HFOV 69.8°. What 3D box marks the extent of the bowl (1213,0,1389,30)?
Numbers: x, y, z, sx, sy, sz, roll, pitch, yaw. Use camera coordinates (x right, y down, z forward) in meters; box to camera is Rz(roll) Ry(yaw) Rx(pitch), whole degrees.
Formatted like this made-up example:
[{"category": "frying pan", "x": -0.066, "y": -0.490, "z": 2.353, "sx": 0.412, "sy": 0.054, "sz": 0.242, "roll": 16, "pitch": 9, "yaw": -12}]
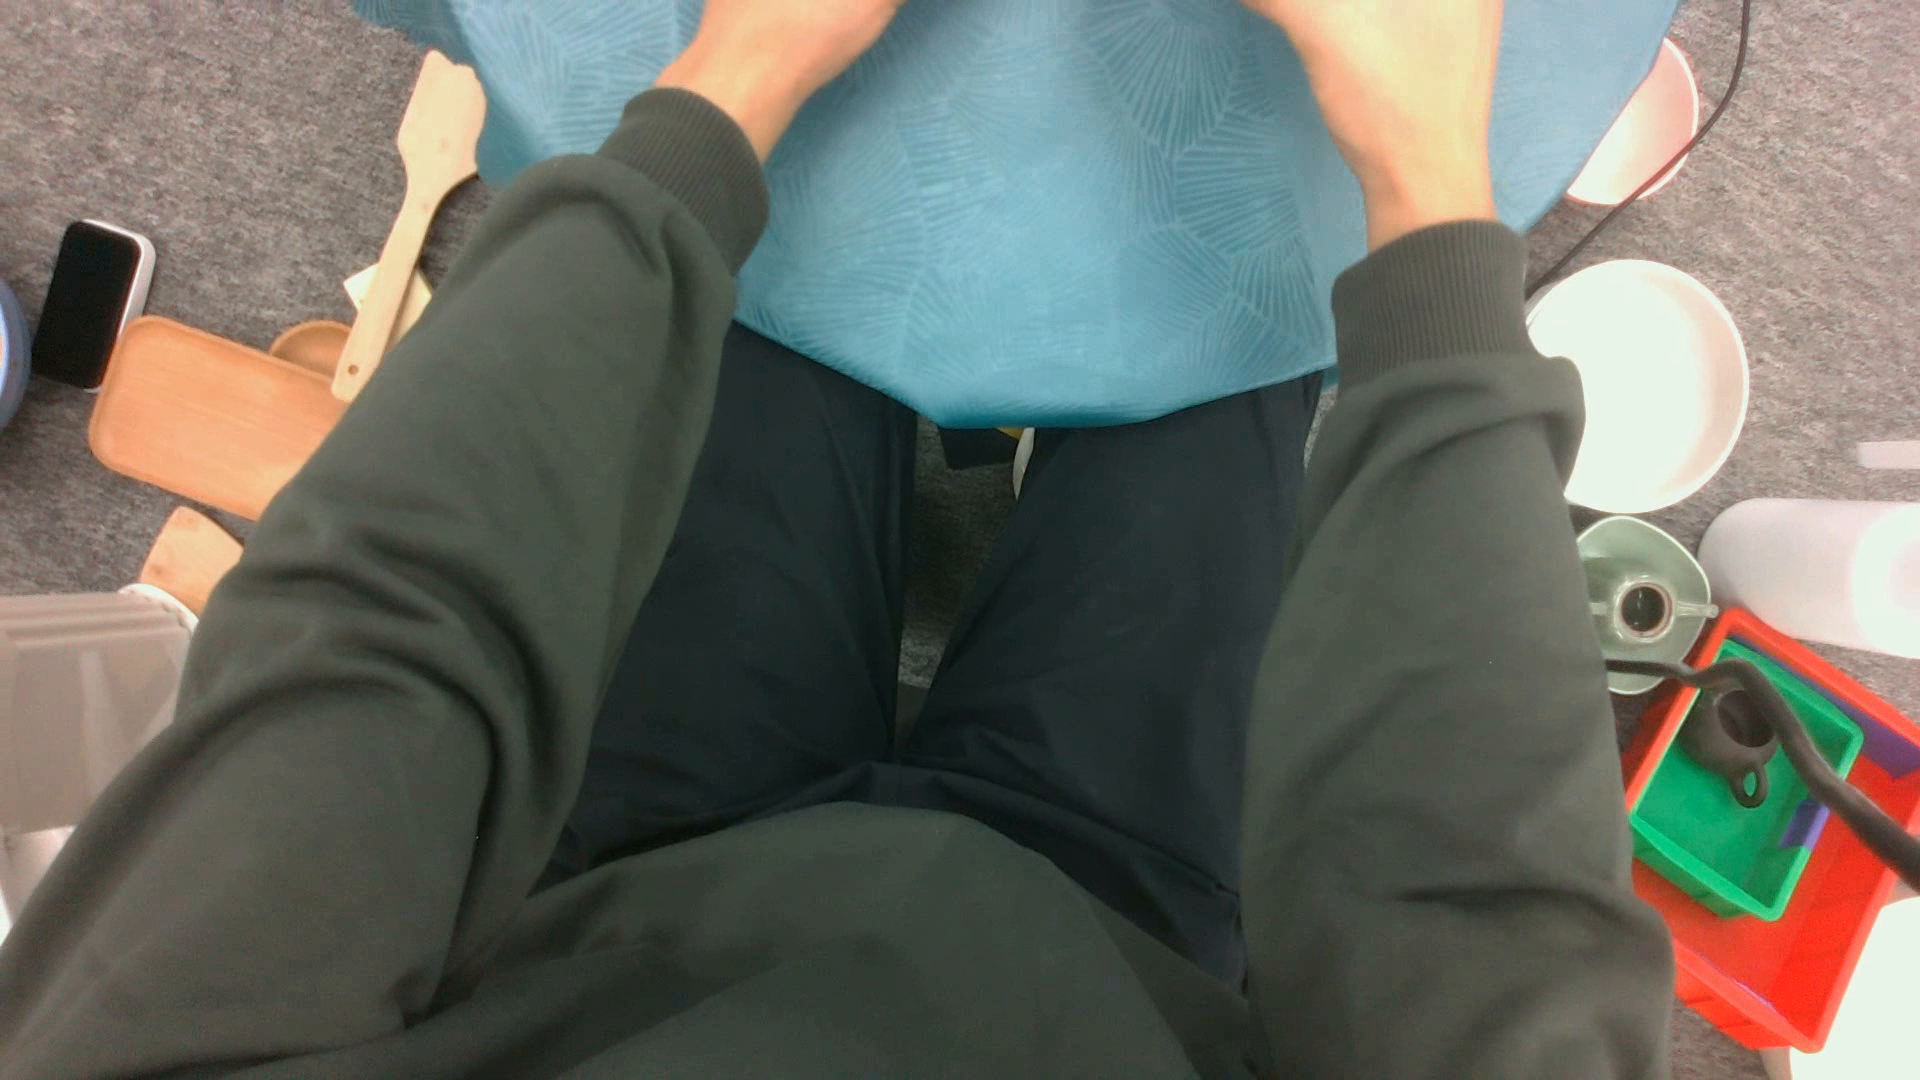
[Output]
[{"category": "bowl", "x": 0.140, "y": -0.263, "z": 0.563, "sx": 0.118, "sy": 0.070, "sz": 0.118, "roll": 0, "pitch": 79, "yaw": 1}]
